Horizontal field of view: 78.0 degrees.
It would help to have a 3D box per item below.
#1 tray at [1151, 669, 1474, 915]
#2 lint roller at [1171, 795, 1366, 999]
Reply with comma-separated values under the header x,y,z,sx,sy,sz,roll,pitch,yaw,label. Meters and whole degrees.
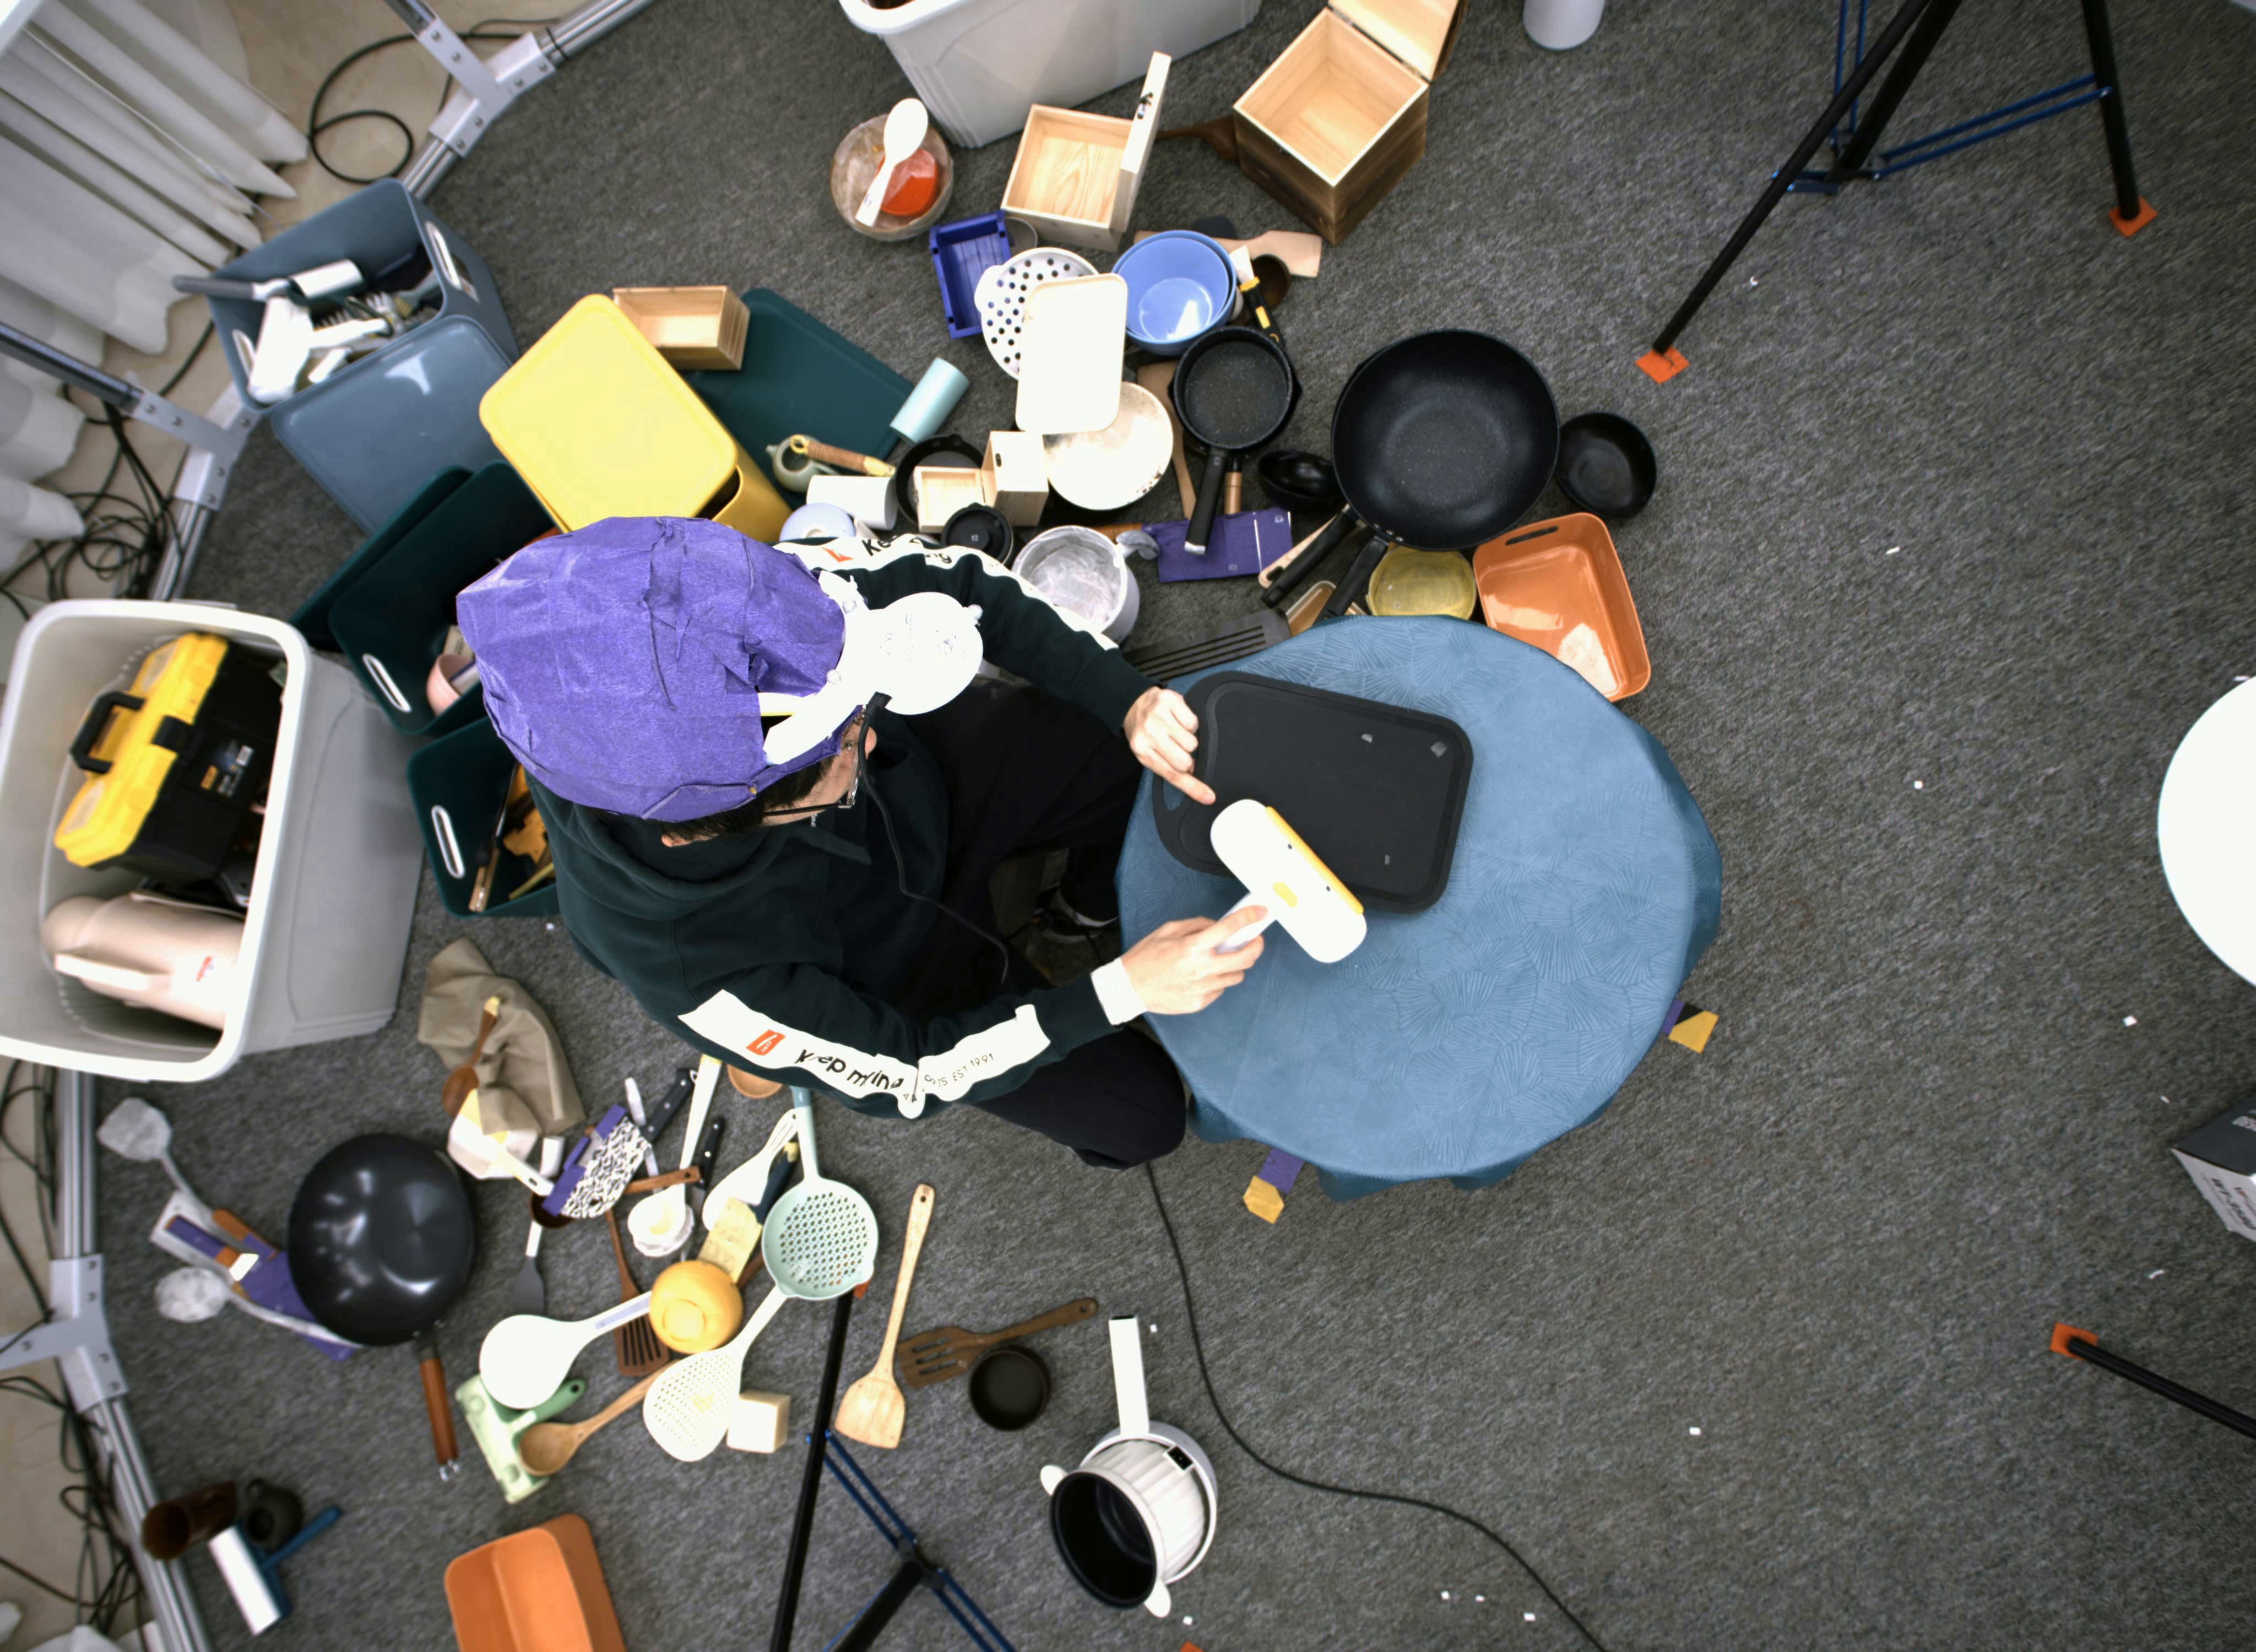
x,y,z,sx,sy,sz,roll,pitch,yaw,label
0.186,-0.036,1.412,0.326,0.010,0.211,12,93,-4,tray
0.116,0.093,1.381,0.194,0.073,0.195,41,105,-13,lint roller
